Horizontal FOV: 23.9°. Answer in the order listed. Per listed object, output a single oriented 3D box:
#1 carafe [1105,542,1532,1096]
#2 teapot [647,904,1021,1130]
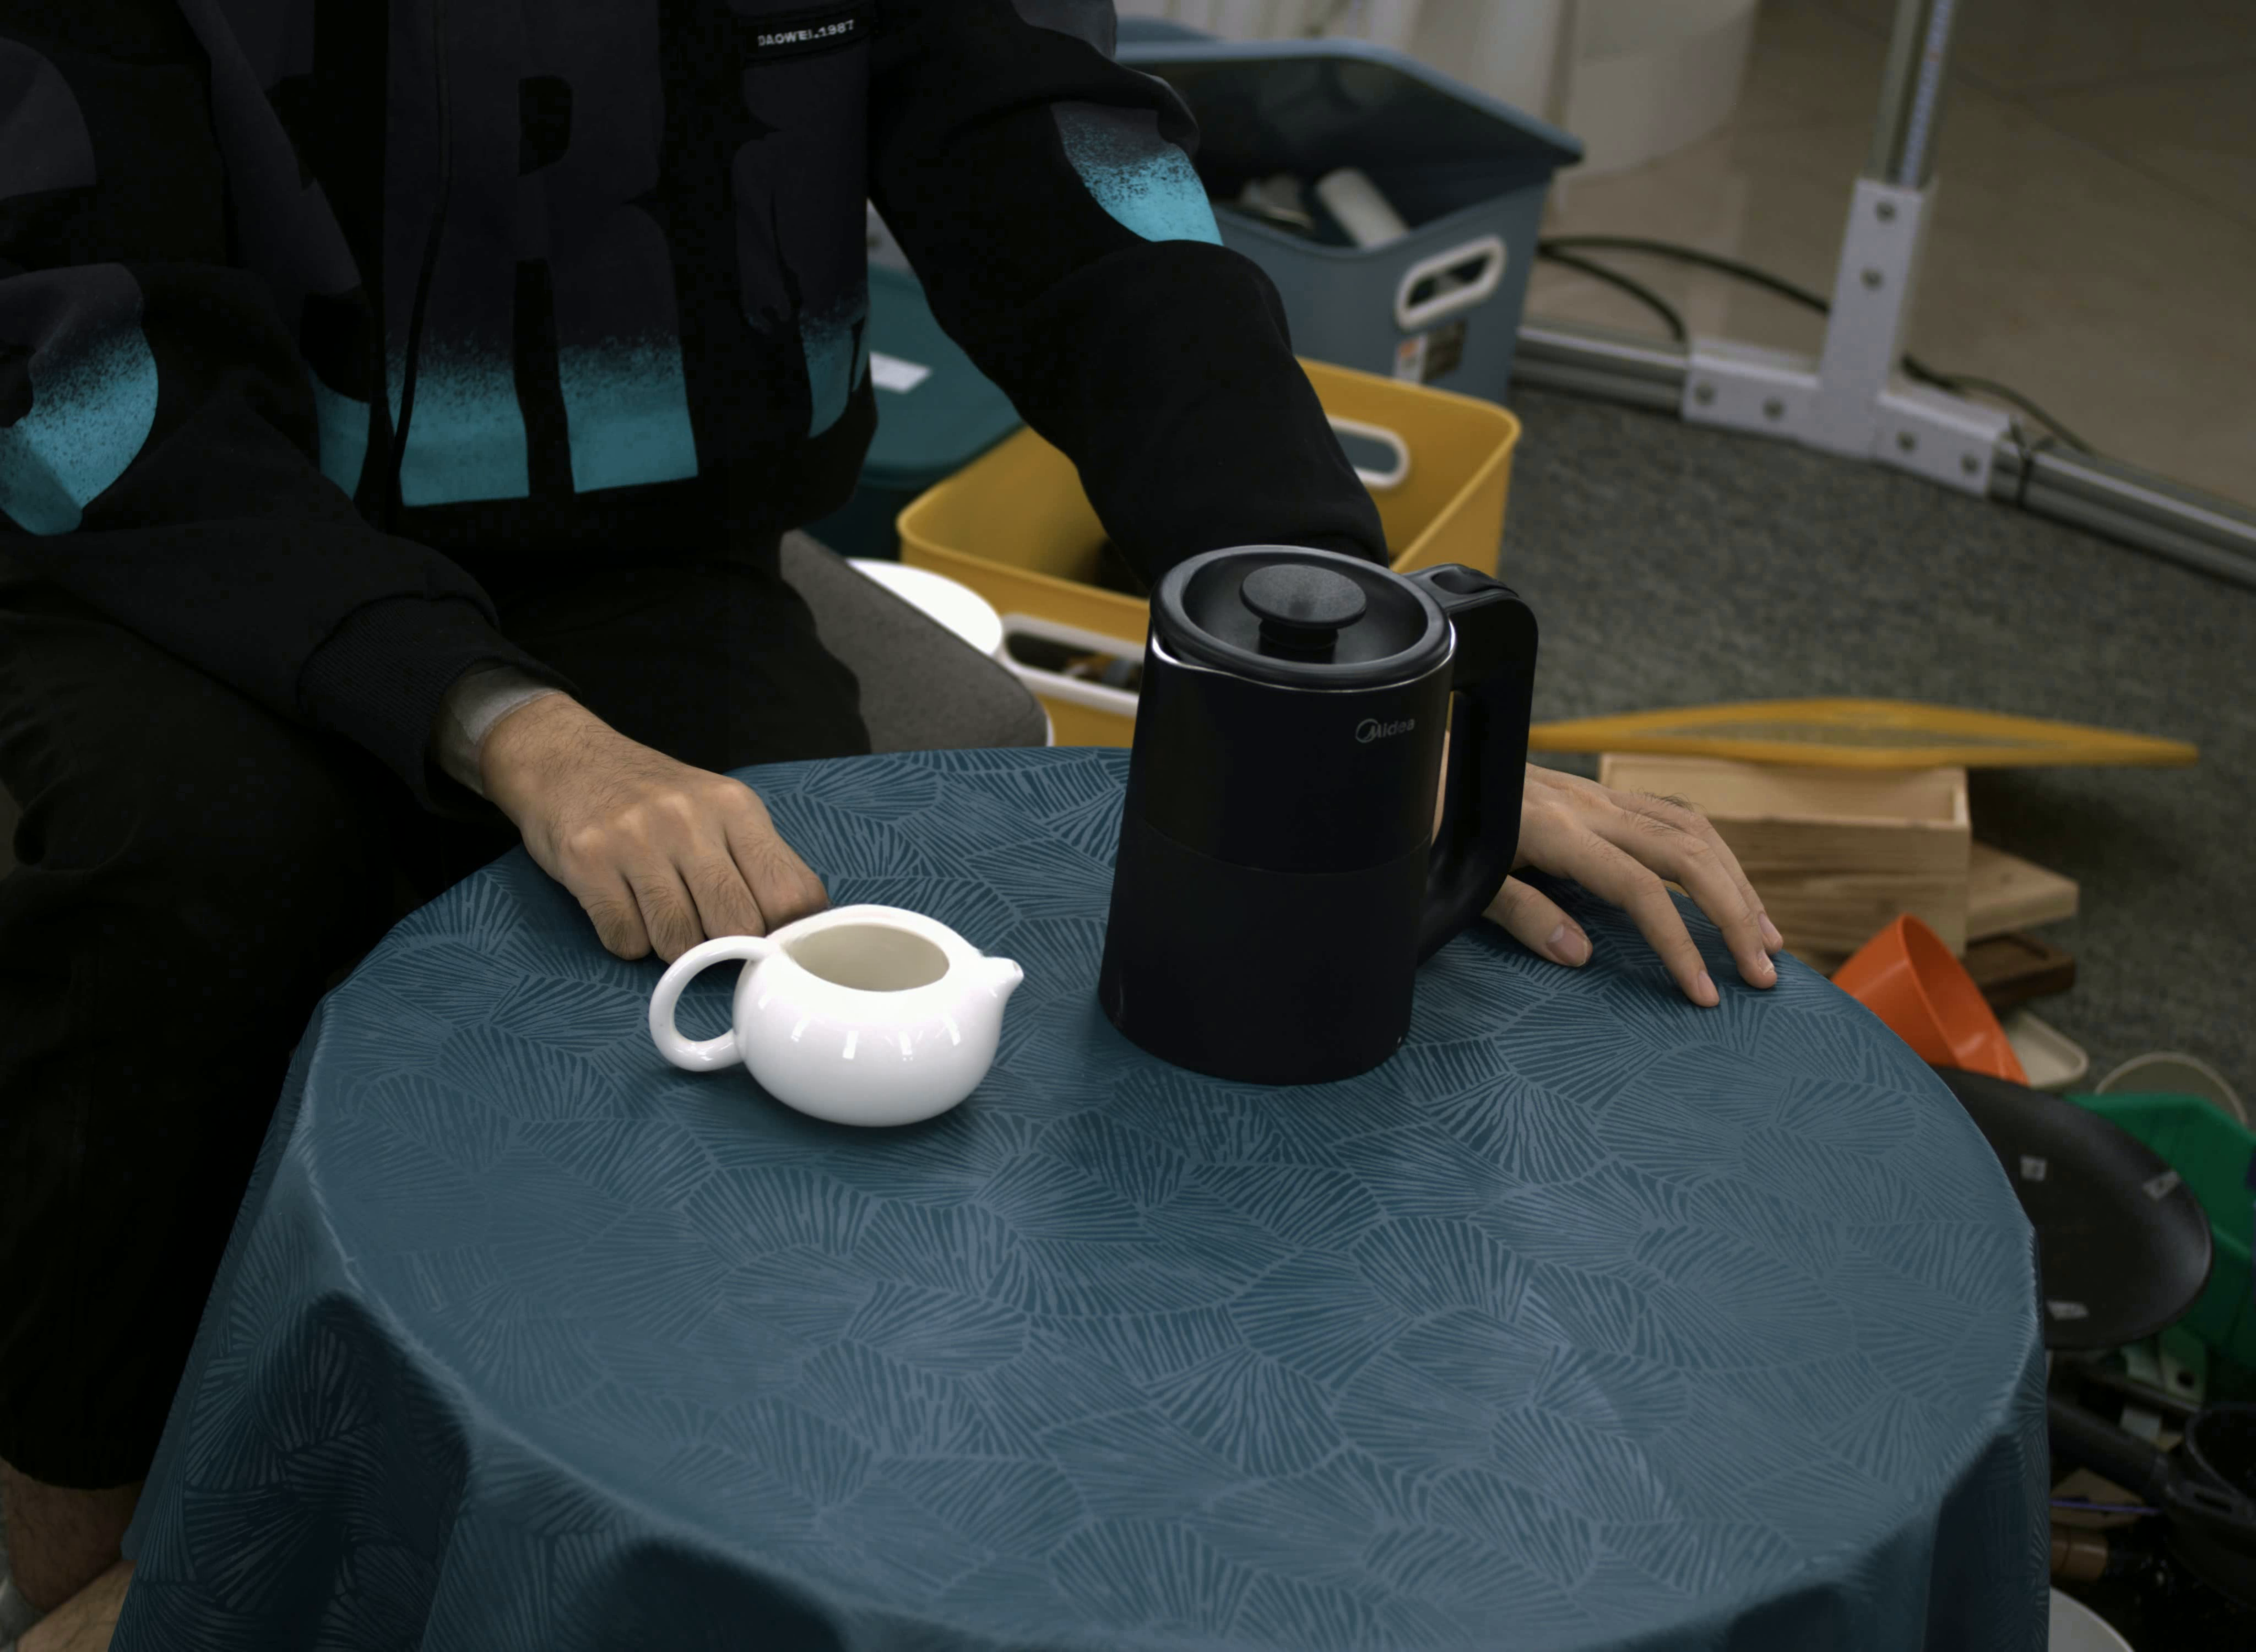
[{"bbox_3d":[0.071,-0.013,1.897,0.171,0.173,0.115,-18,34,-35],"label":"carafe"},{"bbox_3d":[-0.102,0.066,1.830,0.126,0.056,0.094,1,31,-9],"label":"teapot"}]
